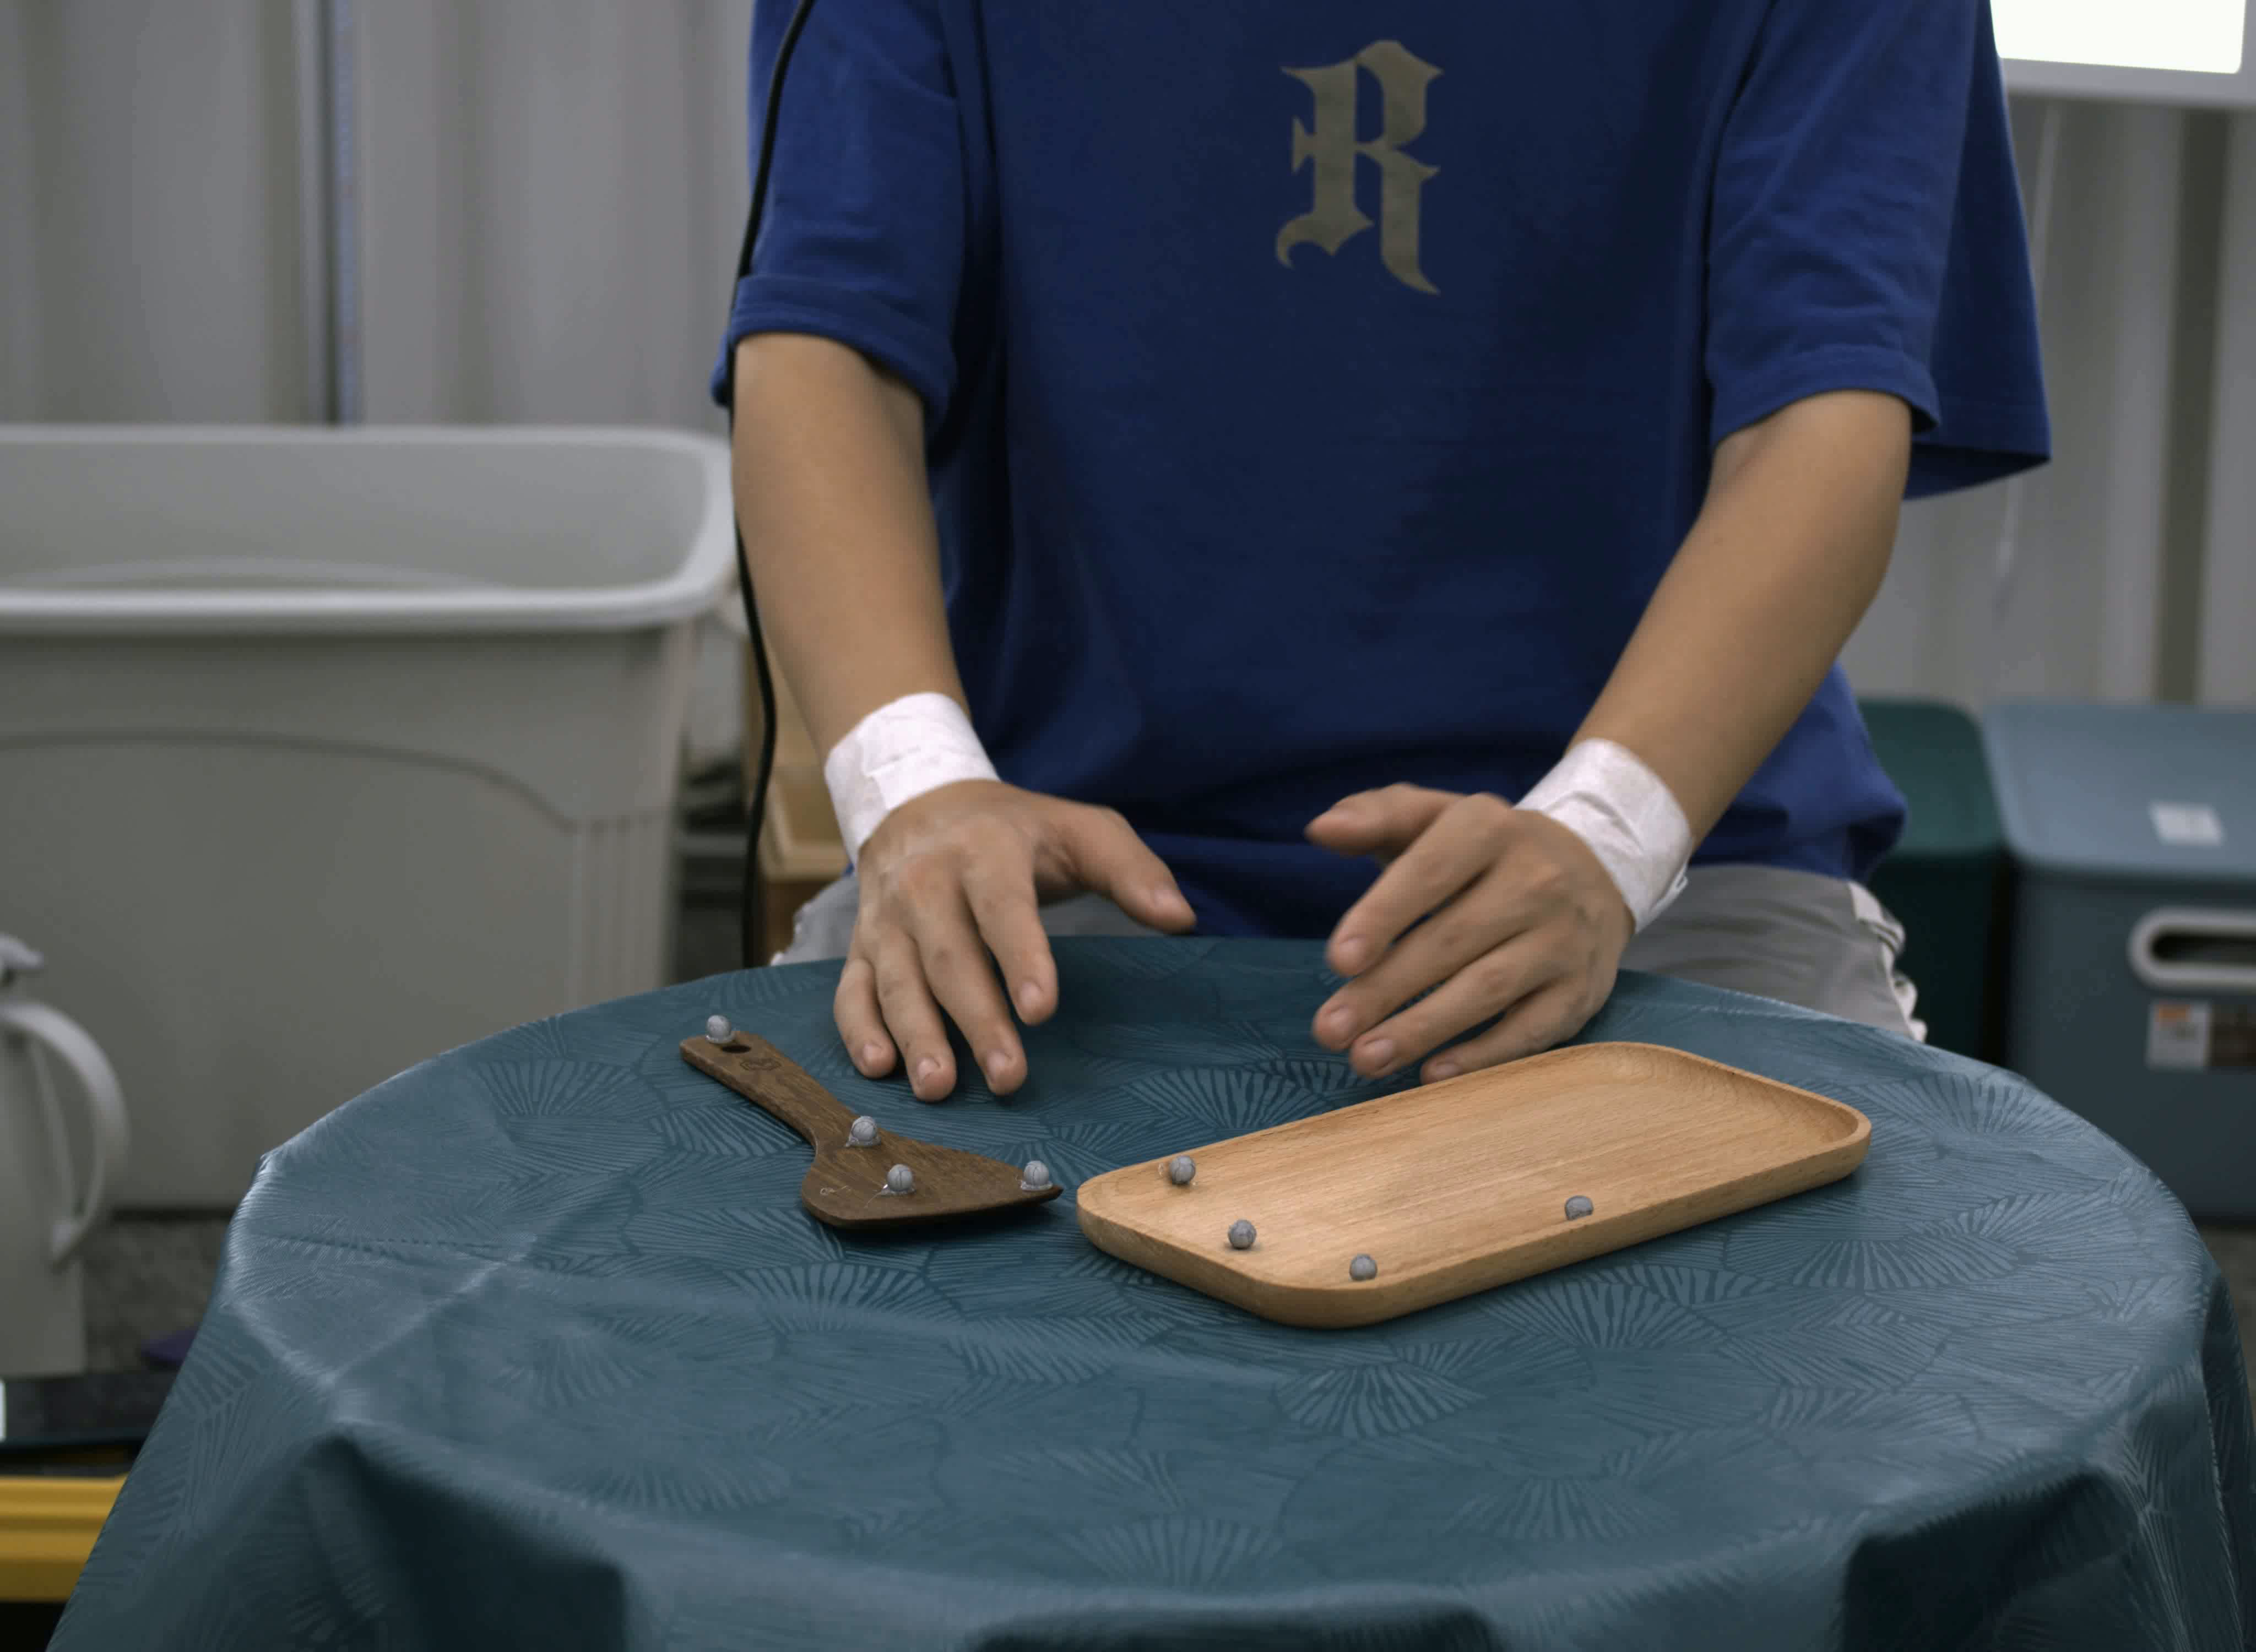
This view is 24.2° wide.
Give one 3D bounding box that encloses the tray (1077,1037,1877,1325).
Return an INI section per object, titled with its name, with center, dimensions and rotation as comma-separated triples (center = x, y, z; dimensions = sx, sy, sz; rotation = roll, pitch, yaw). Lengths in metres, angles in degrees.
[tray]
center = 0.109, 0.107, 1.615
dimensions = 0.252, 0.023, 0.129
rotation = -11, 22, -38

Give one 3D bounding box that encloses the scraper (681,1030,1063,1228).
[scraper]
center = -0.094, 0.095, 1.667
dimensions = 0.076, 0.011, 0.209
rotation = -6, 16, -25
